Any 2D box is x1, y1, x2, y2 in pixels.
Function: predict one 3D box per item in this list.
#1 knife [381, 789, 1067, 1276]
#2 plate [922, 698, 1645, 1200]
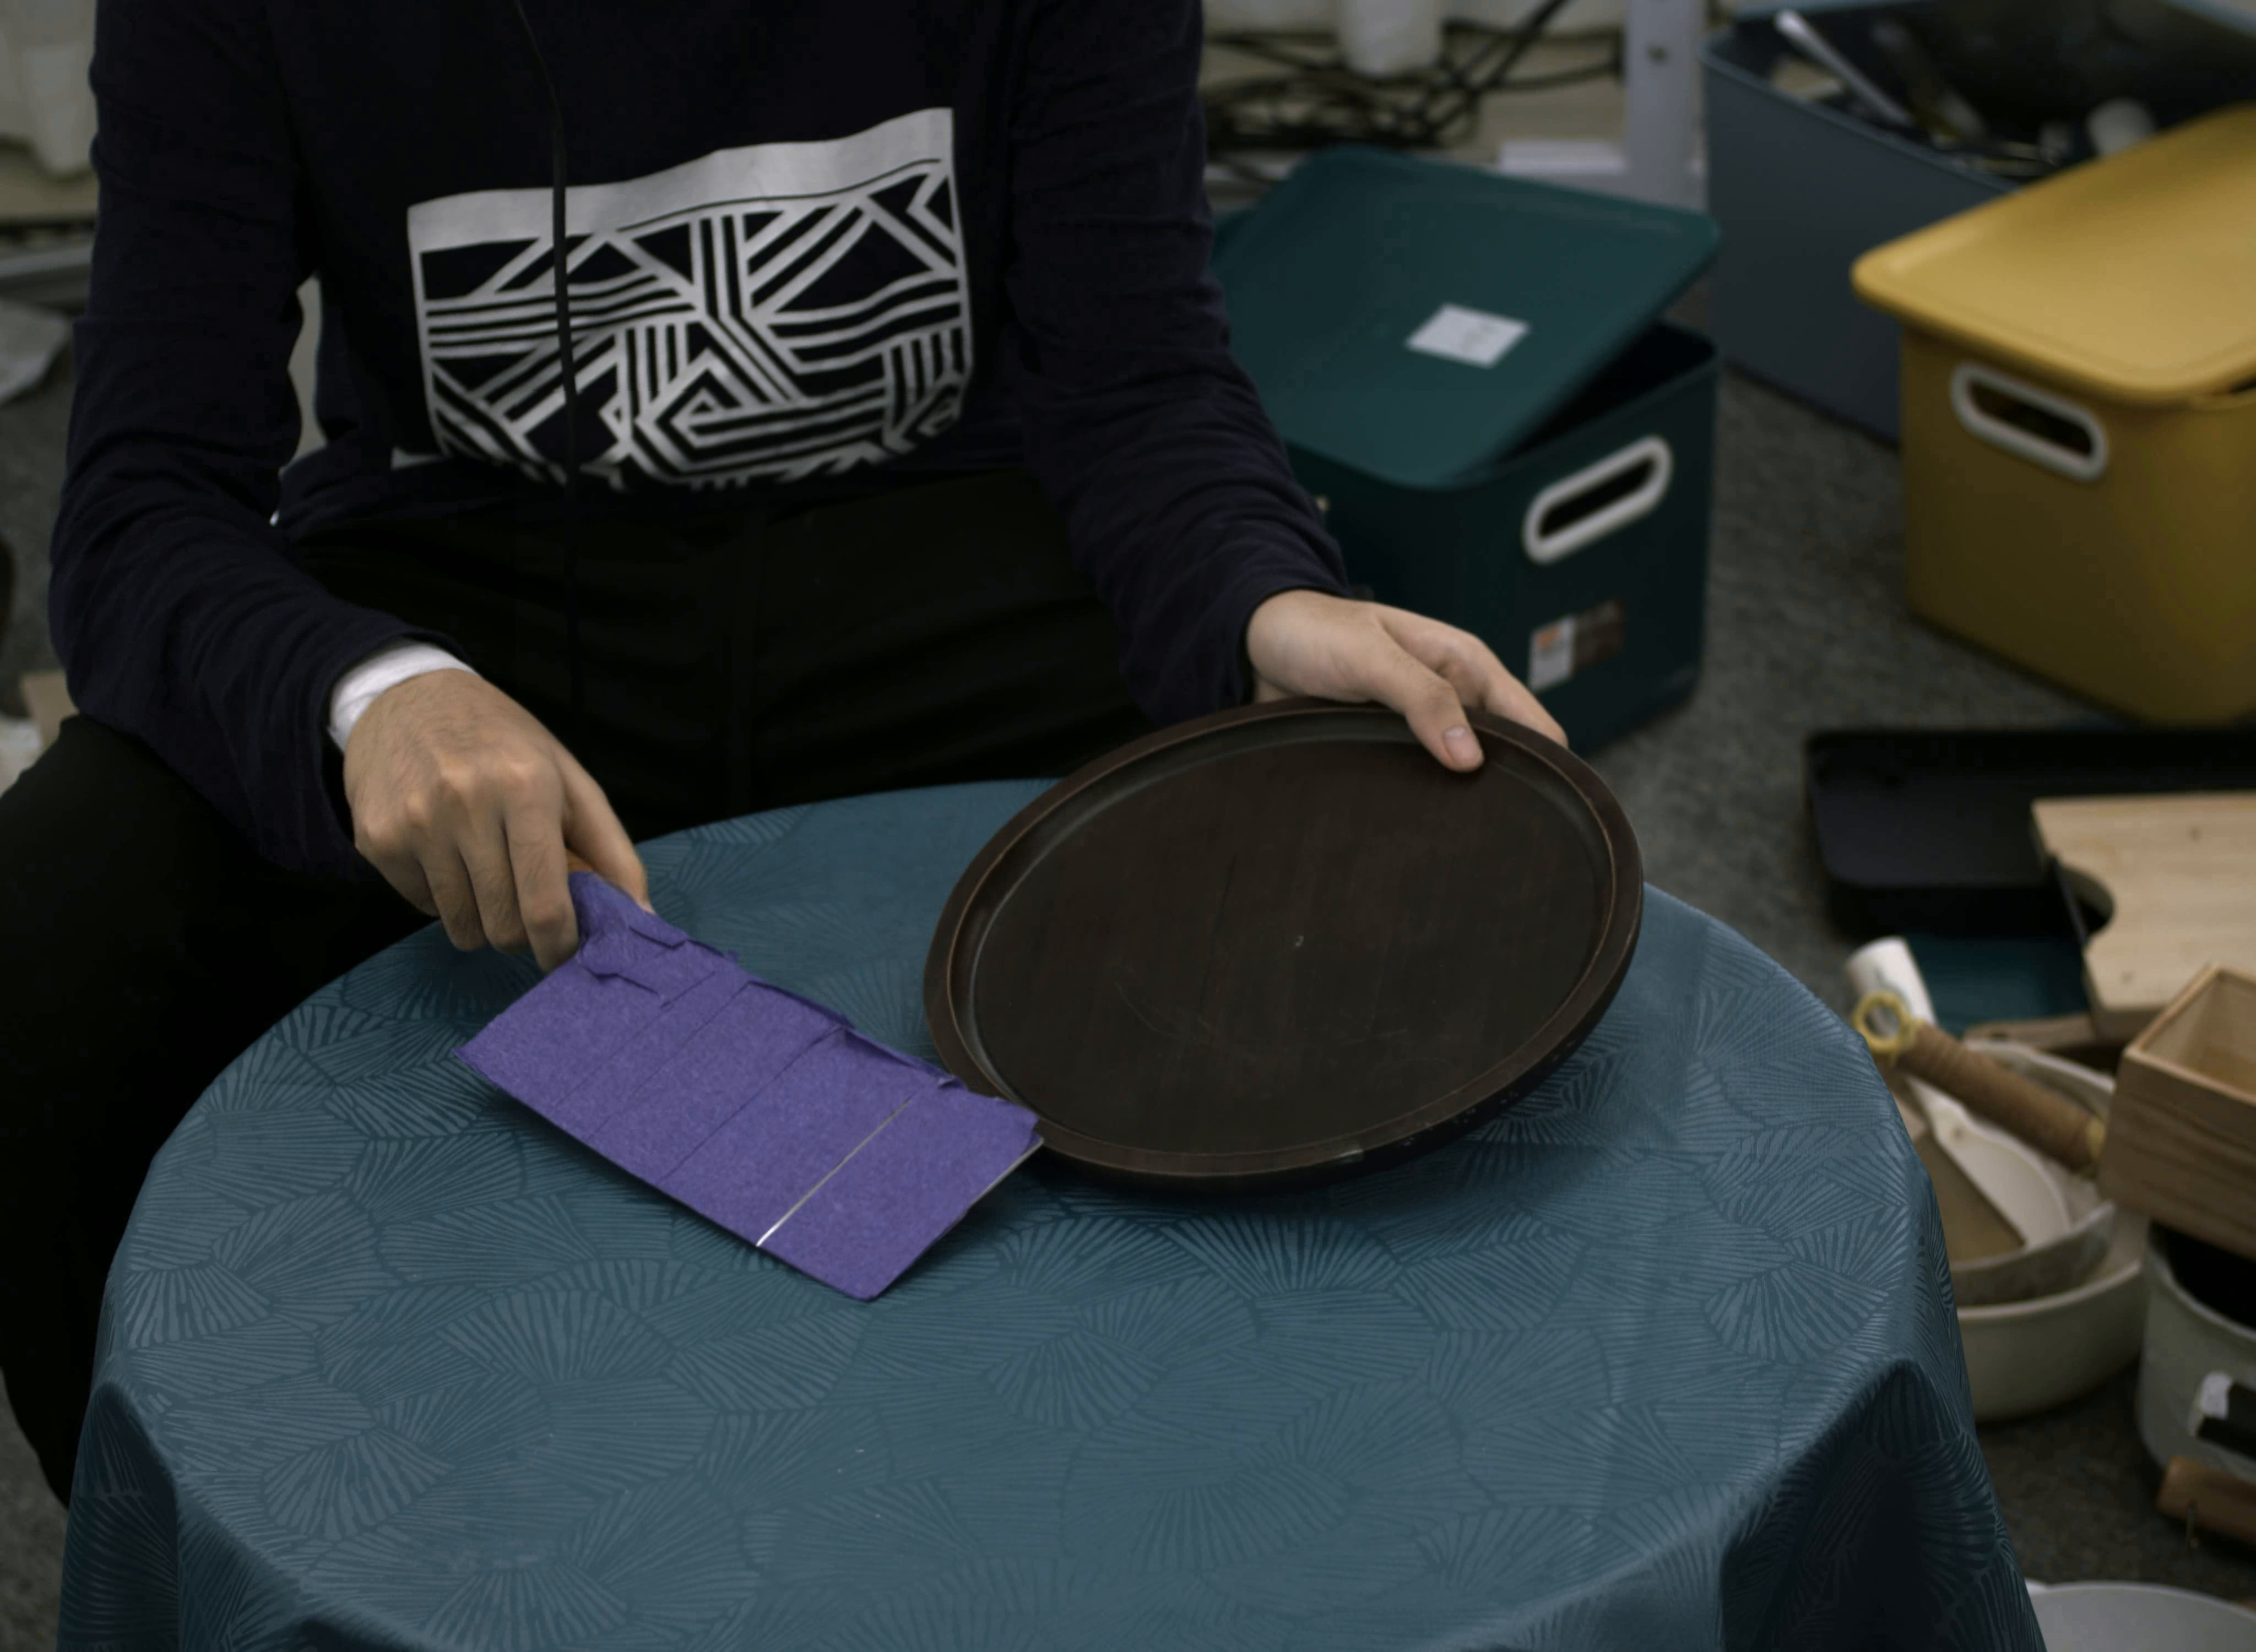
[{"bbox_3d":[-0.165,0.068,1.918,0.315,0.032,0.105,24,51,37],"label":"knife"},{"bbox_3d":[0.053,0.040,1.932,0.253,0.028,0.260,-9,38,7],"label":"plate"}]
